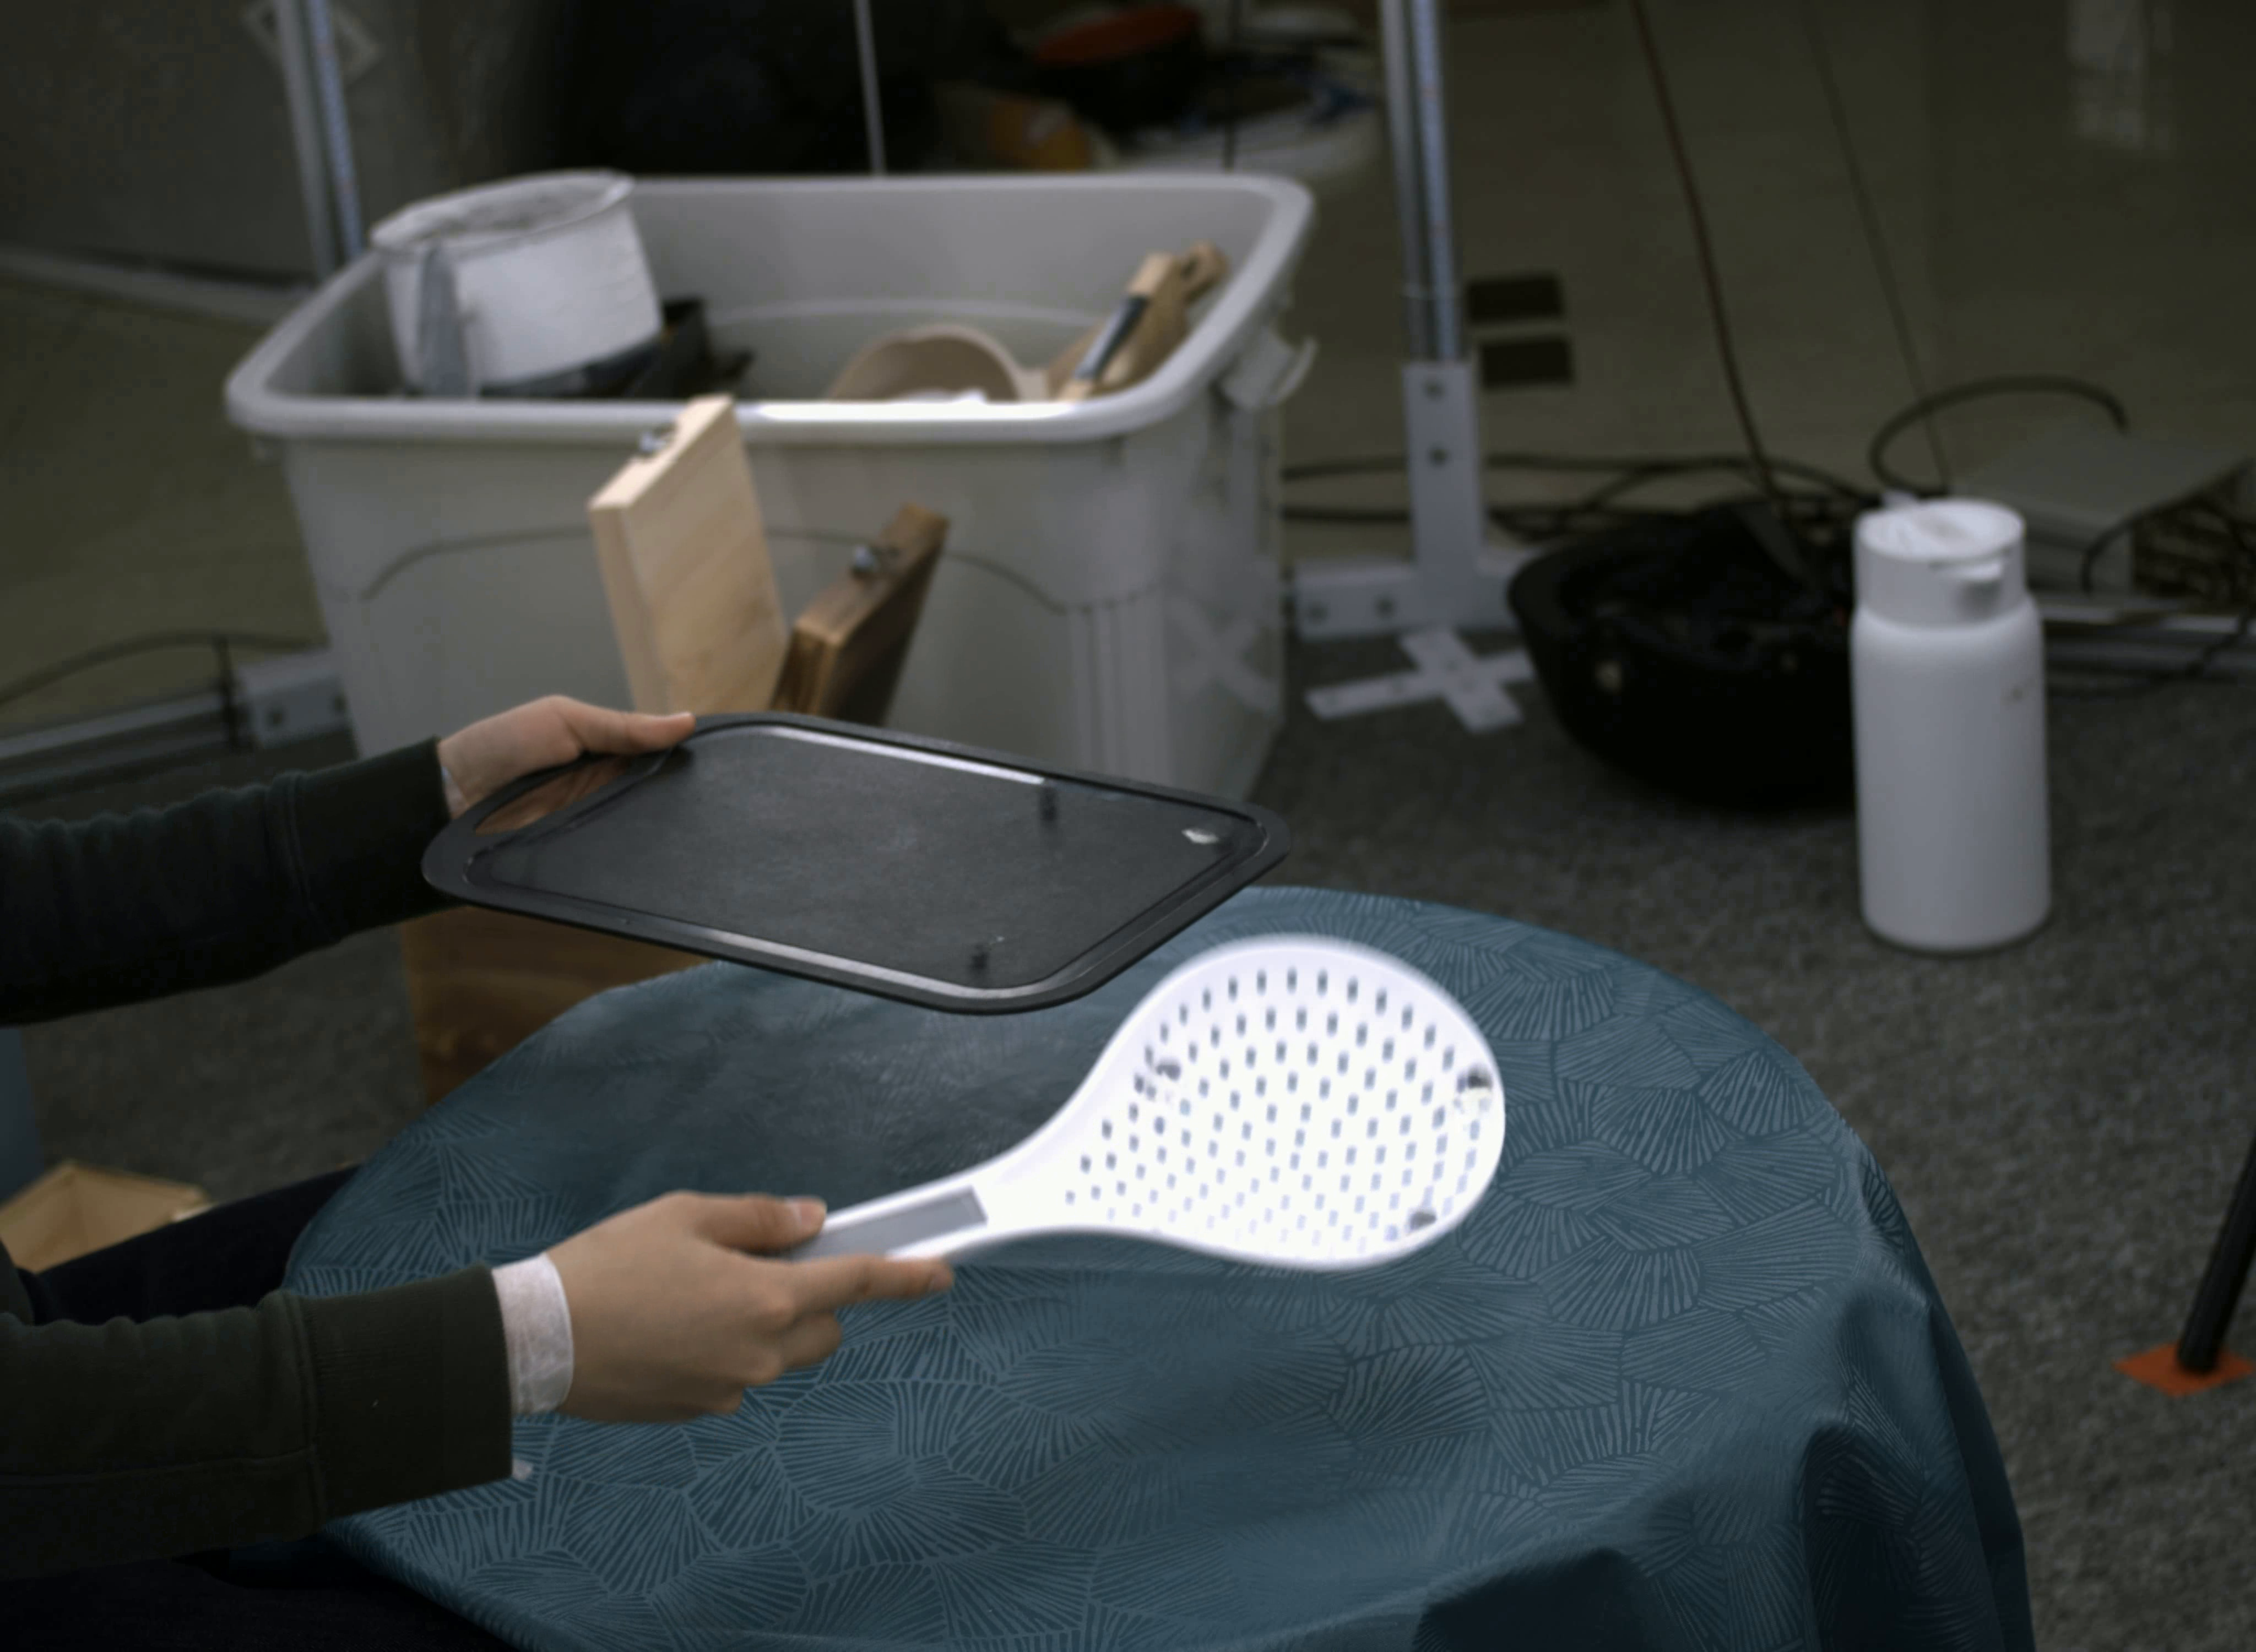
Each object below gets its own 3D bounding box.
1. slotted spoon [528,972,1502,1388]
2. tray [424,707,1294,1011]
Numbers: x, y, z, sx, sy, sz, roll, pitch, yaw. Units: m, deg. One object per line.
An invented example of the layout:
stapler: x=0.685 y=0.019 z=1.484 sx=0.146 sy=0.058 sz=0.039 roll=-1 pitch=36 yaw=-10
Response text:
slotted spoon: x=-0.036 y=0.134 z=1.931 sx=0.348 sy=0.046 sz=0.134 roll=-12 pitch=54 yaw=-23
tray: x=-0.112 y=0.007 z=2.179 sx=0.323 sy=0.010 sz=0.209 roll=12 pitch=28 yaw=32
